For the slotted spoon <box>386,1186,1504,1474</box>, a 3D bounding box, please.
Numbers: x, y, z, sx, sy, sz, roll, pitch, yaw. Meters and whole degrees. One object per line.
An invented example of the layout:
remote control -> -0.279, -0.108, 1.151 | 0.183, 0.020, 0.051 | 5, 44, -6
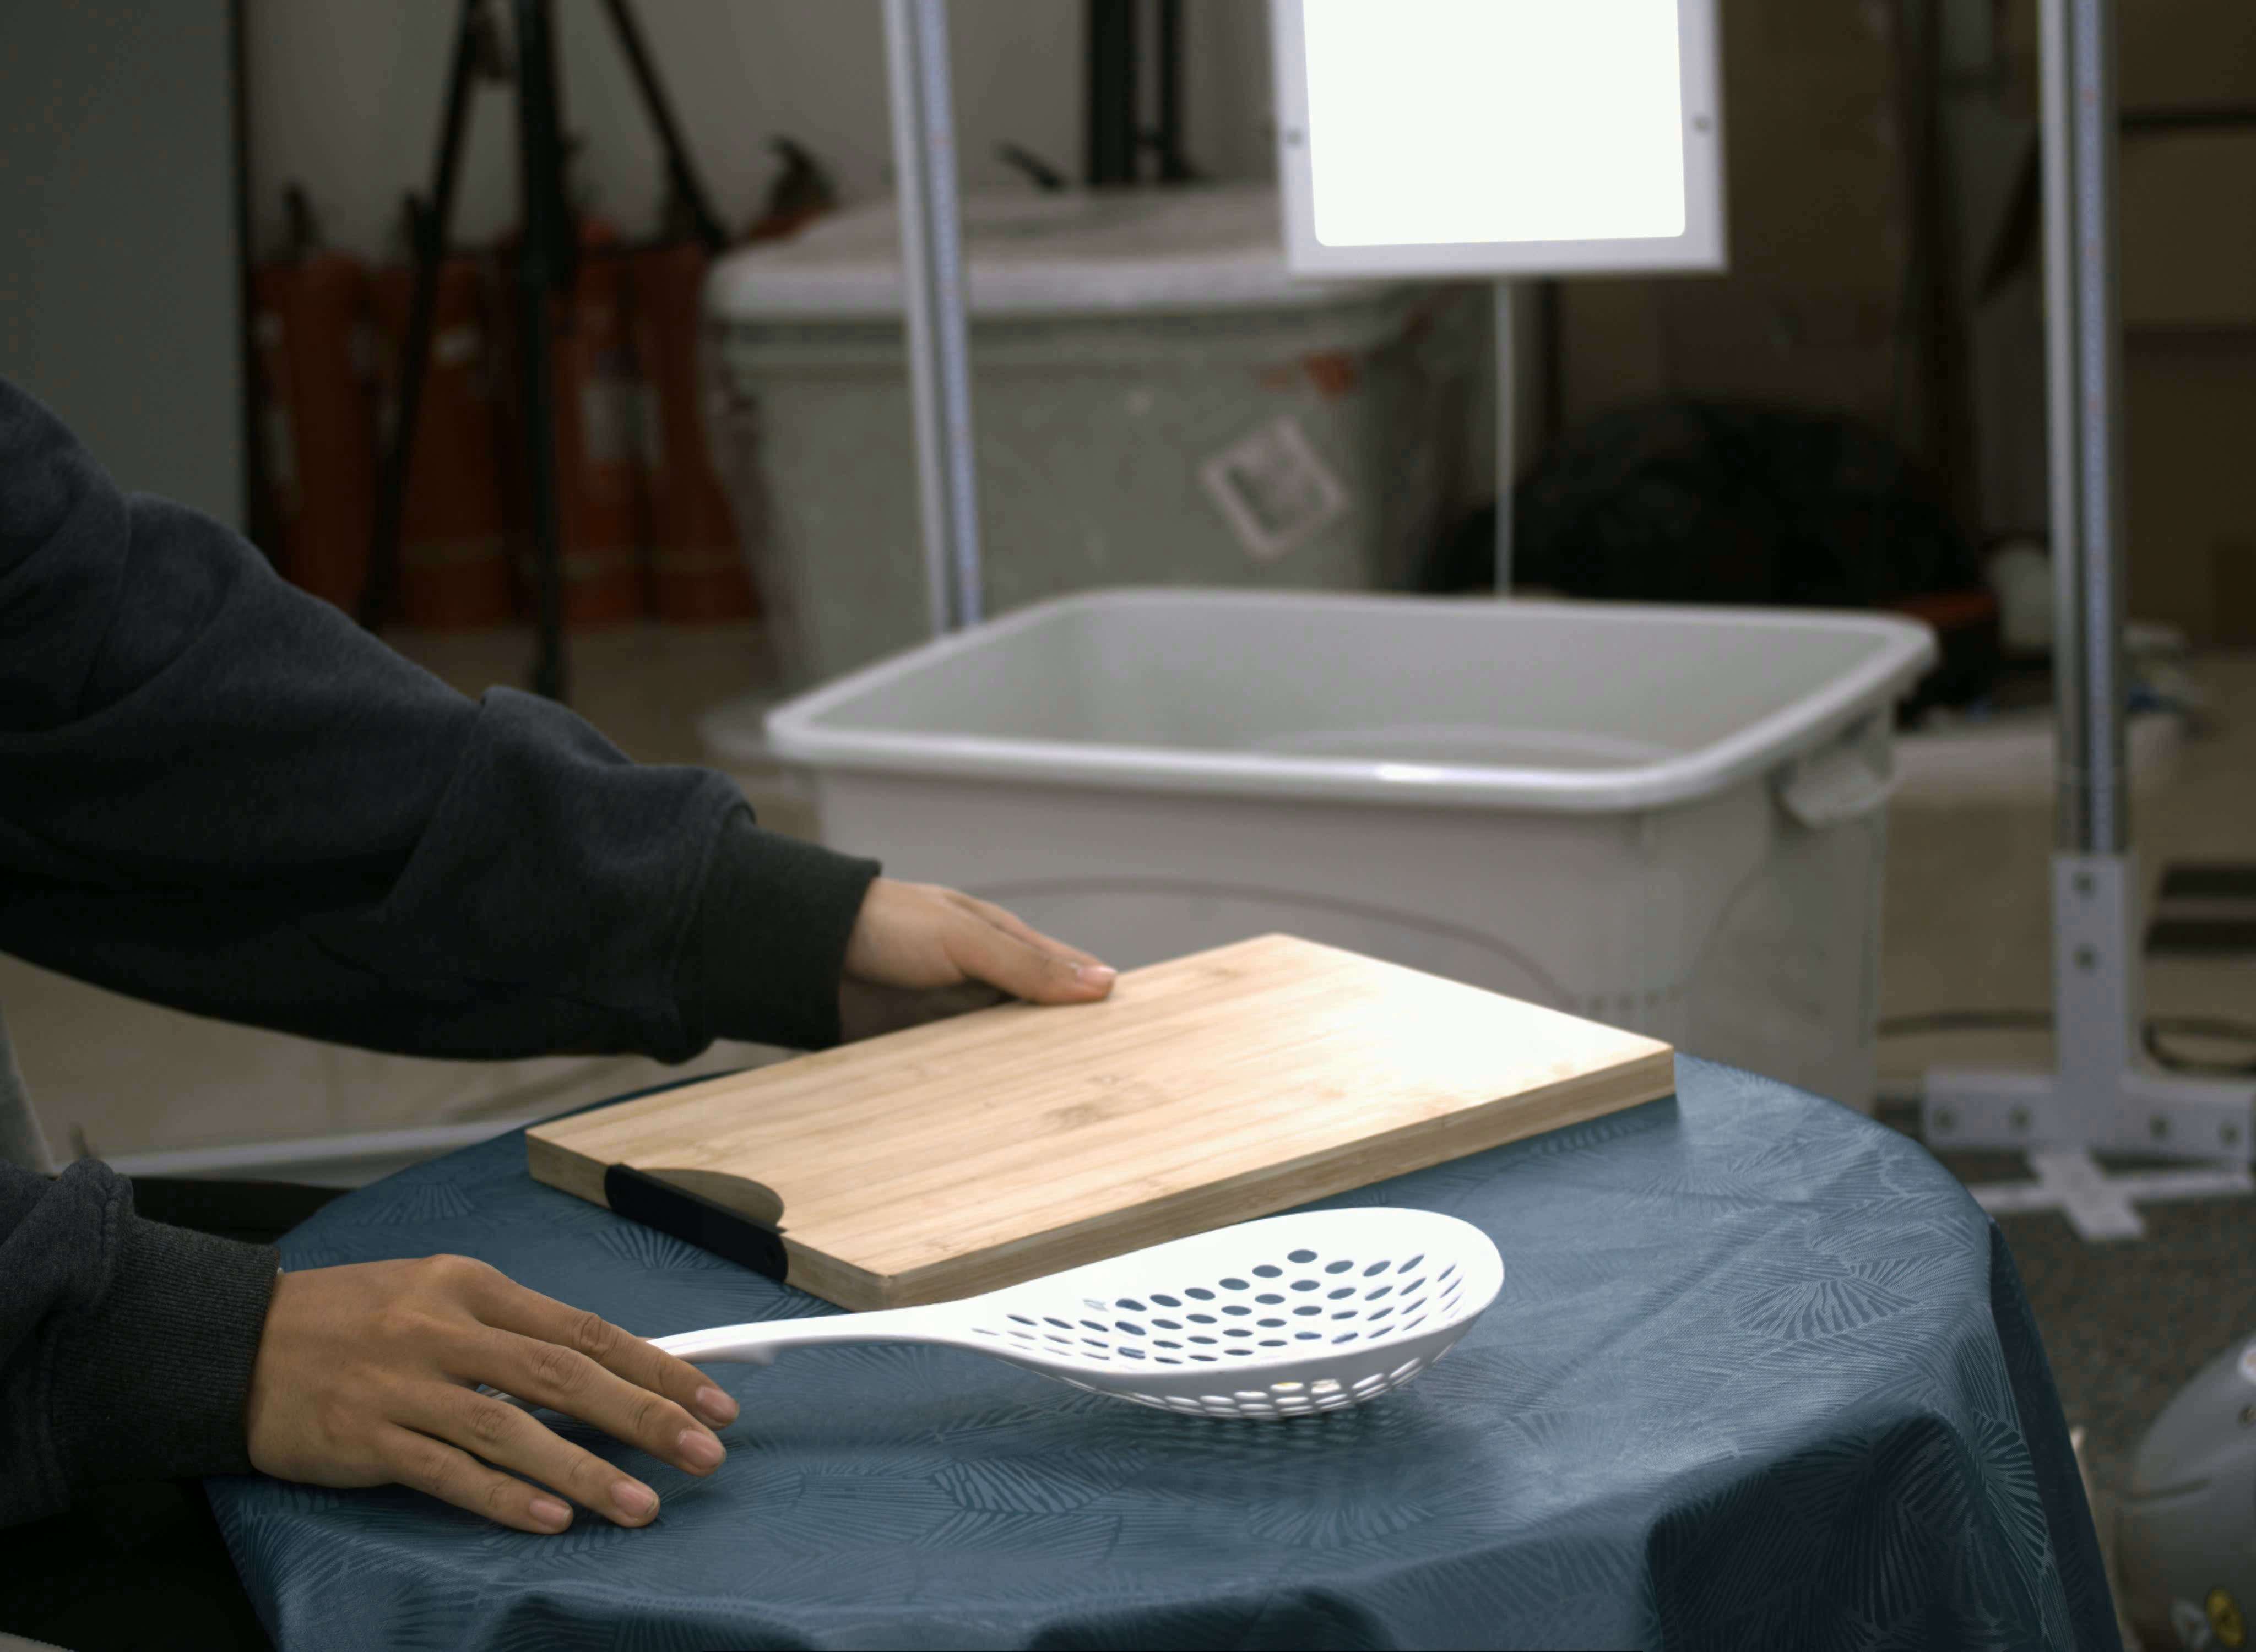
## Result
slotted spoon -> -0.057, 0.162, 1.687 | 0.348, 0.050, 0.136 | -4, 16, 6

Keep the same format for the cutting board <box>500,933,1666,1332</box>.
cutting board -> -0.014, 0.104, 1.961 | 0.340, 0.023, 0.256 | -14, 16, -33
